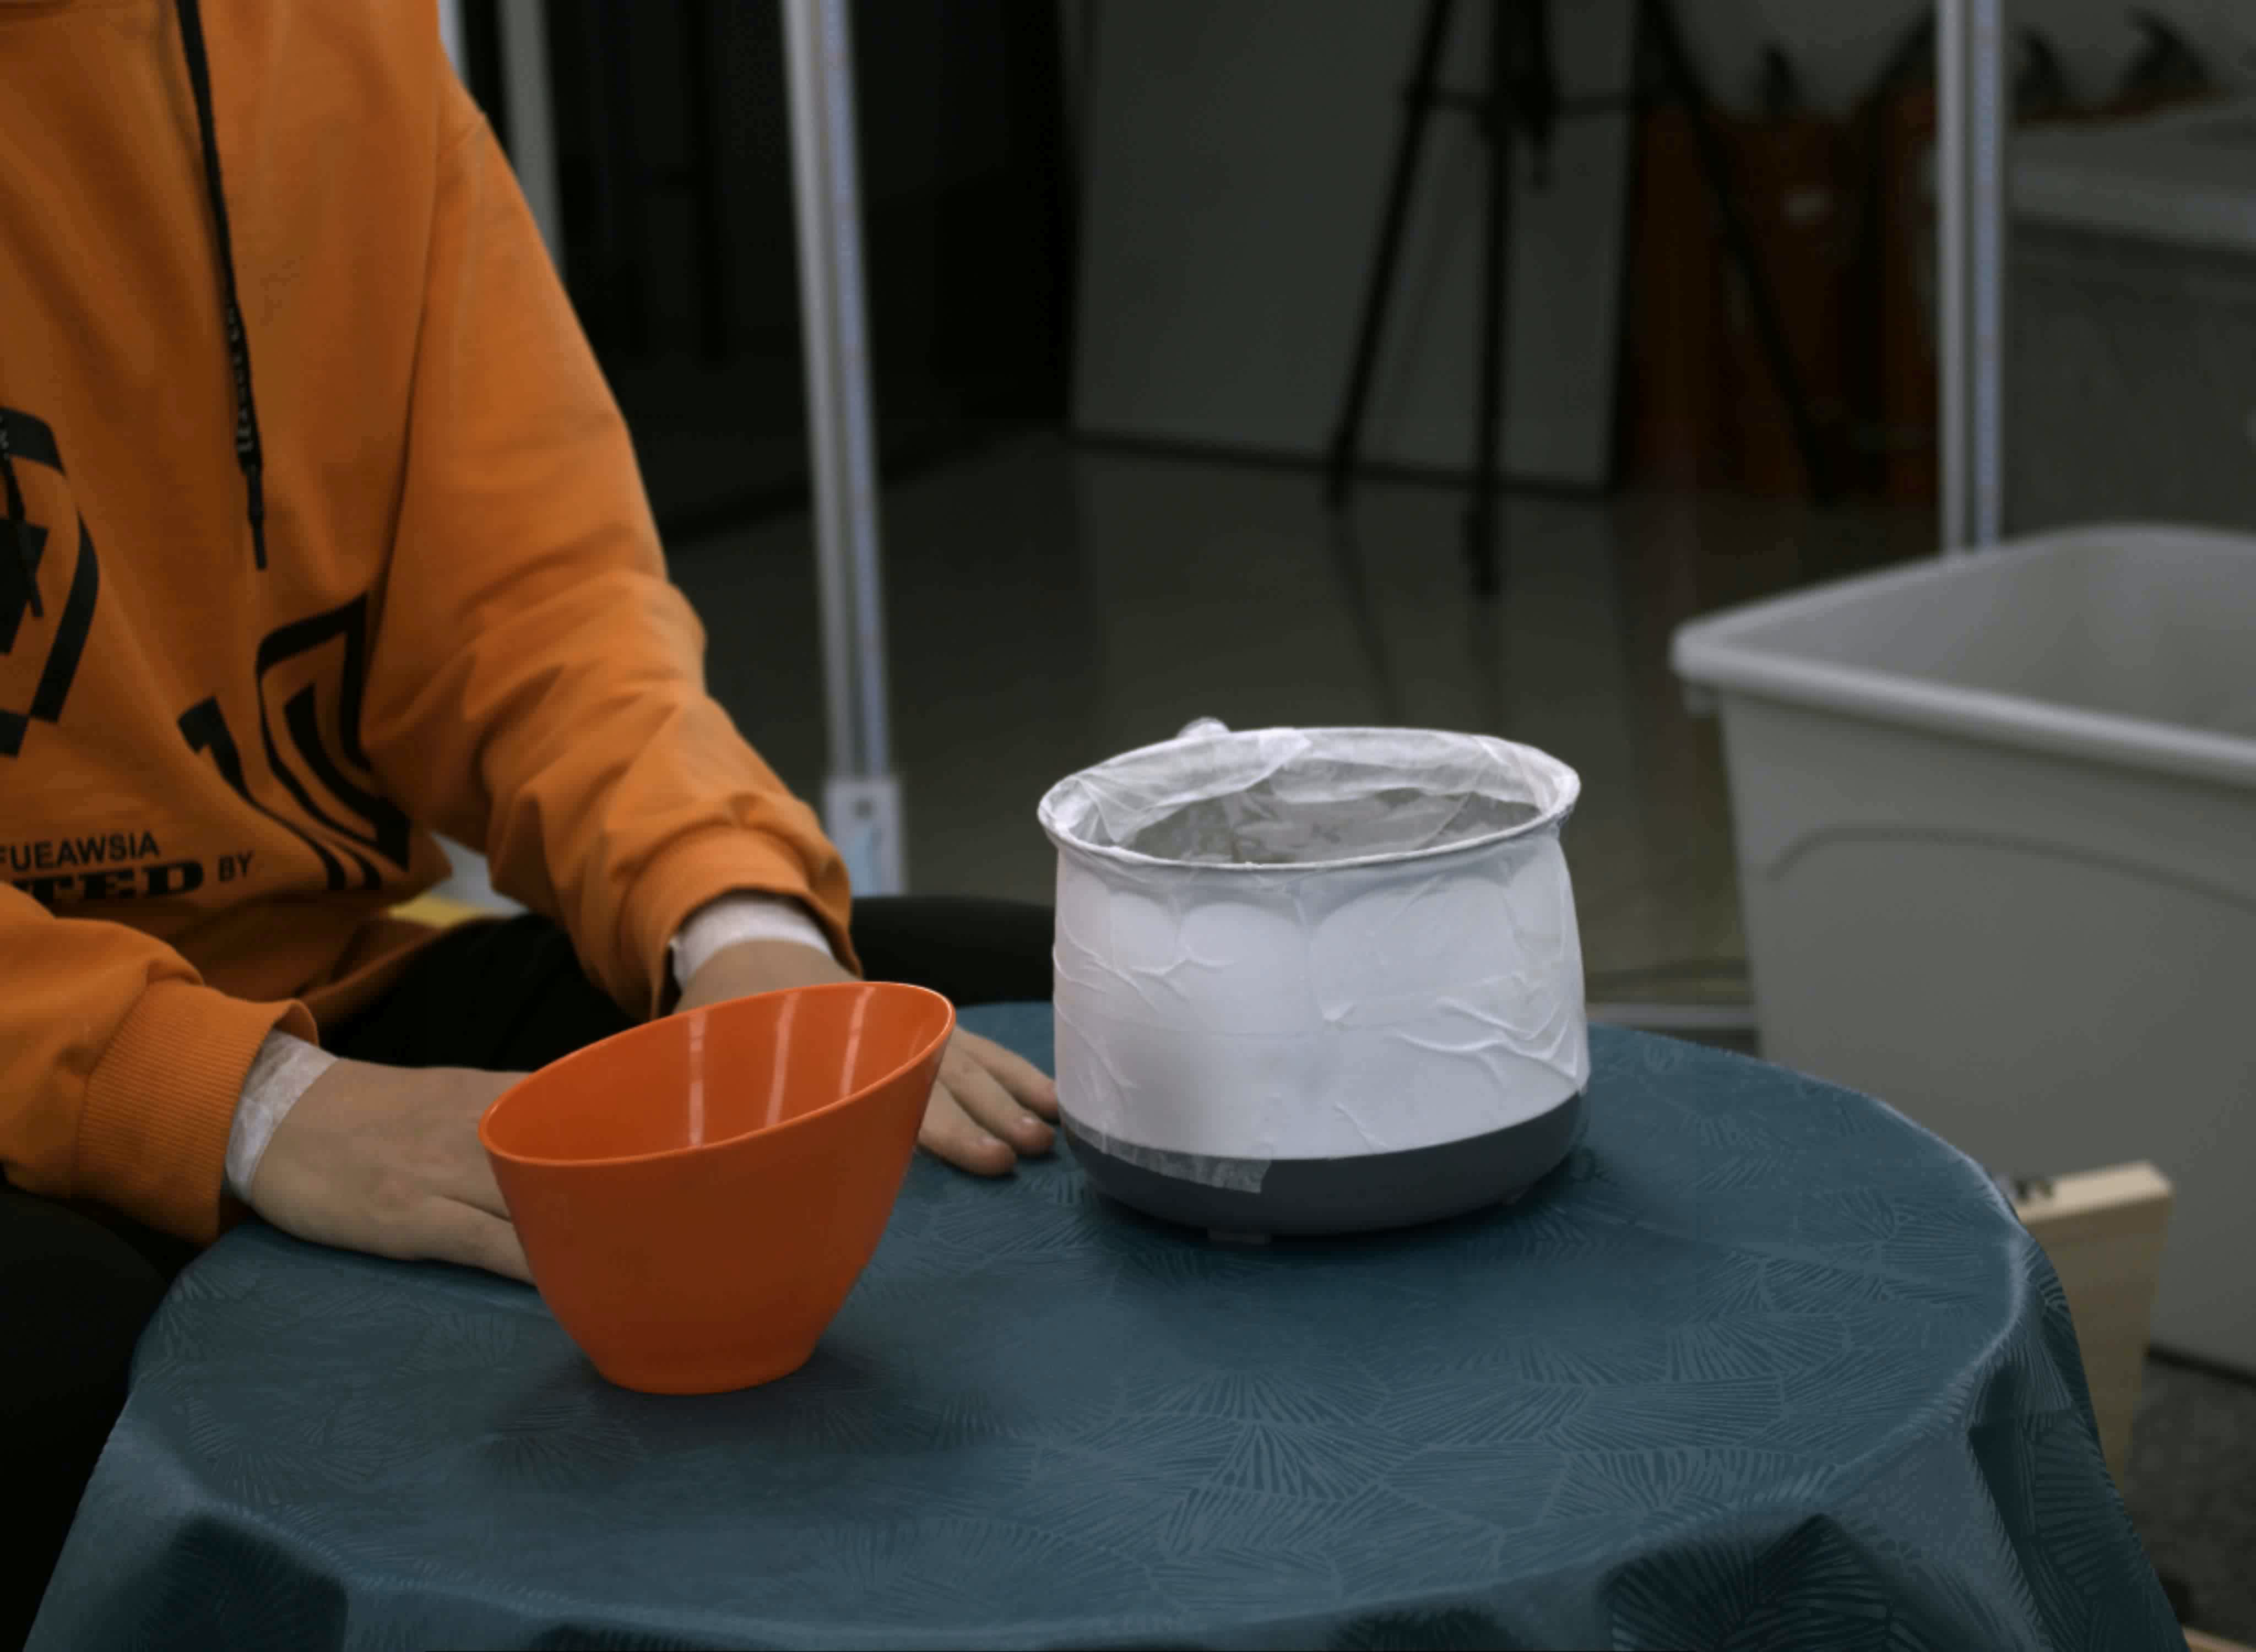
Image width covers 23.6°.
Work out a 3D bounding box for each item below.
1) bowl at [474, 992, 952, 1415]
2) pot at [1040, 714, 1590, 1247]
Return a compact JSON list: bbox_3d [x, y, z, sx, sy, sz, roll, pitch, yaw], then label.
[{"bbox_3d":[-0.120,0.116,1.627,0.146,0.106,0.148,-5,13,0],"label":"bowl"},{"bbox_3d":[0.052,0.044,1.779,0.175,0.138,0.236,-8,14,-18],"label":"pot"}]
